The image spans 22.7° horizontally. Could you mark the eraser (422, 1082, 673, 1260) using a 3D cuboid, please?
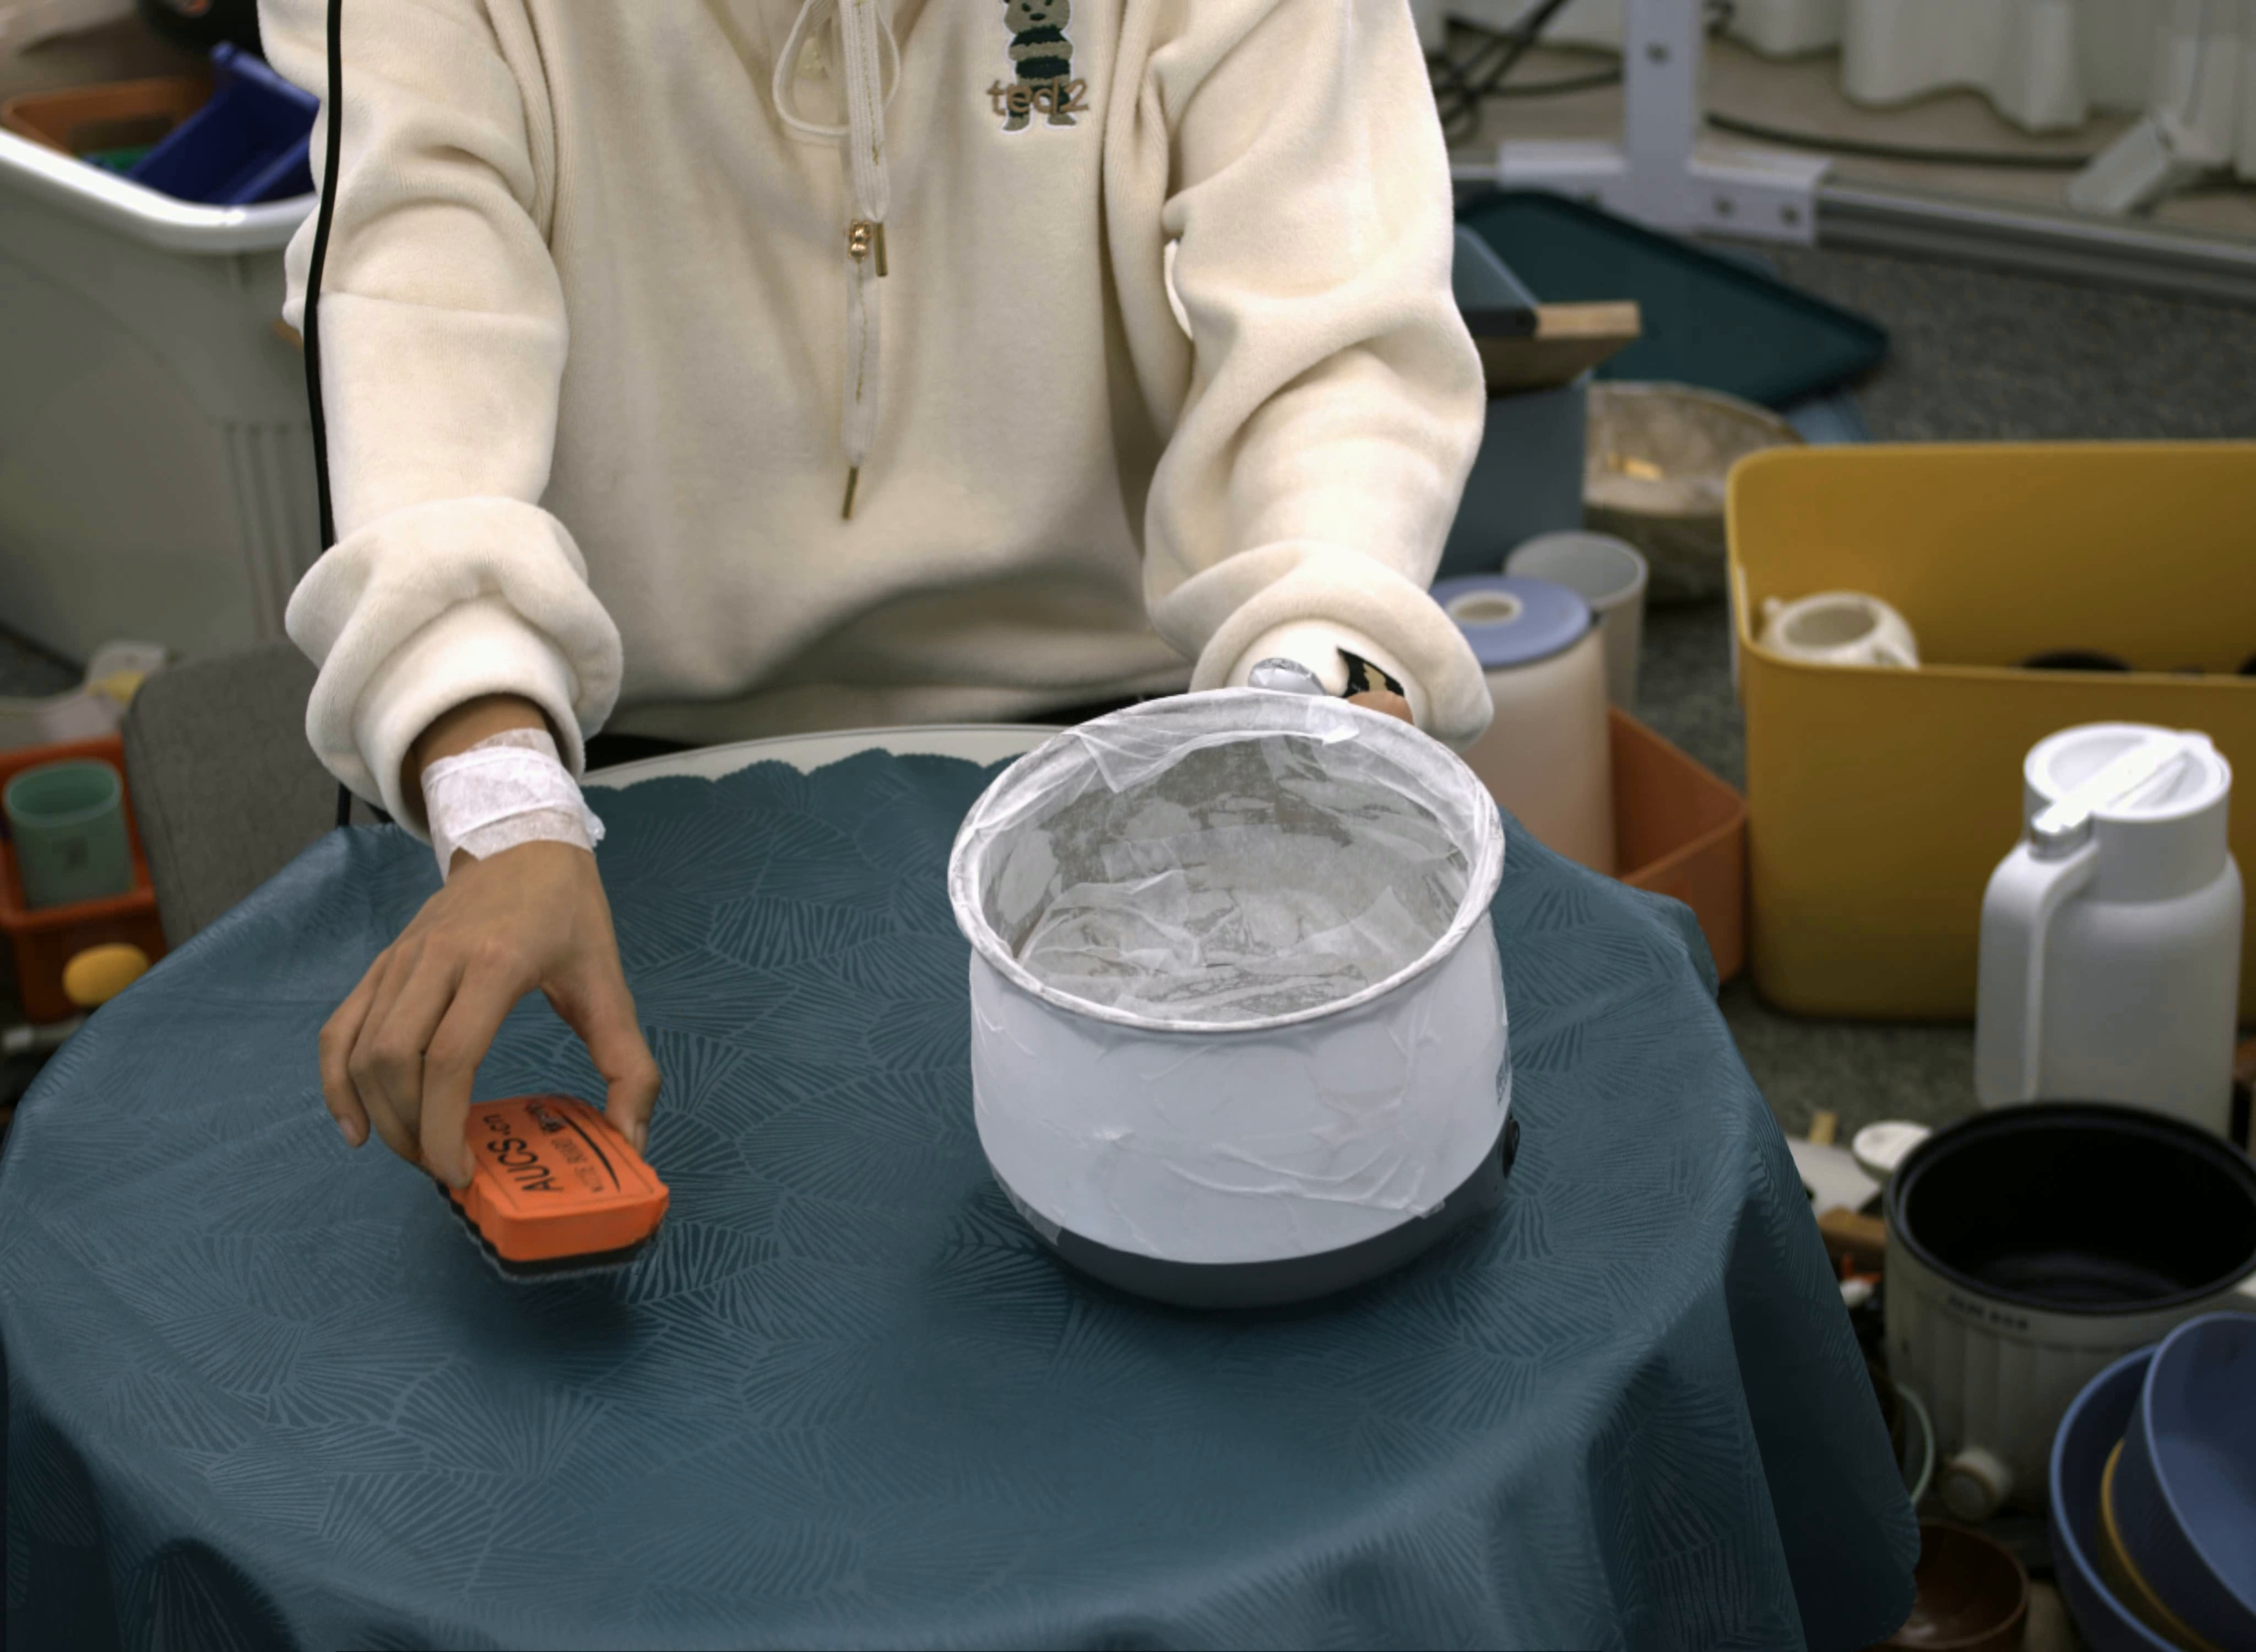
[{"bbox_3d":[-0.189,0.111,1.818,0.059,0.023,0.108,-6,16,-22],"label":"eraser"}]

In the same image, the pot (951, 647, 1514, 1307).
[{"bbox_3d":[0.039,0.040,1.836,0.177,0.134,0.238,4,38,9],"label":"pot"}]
